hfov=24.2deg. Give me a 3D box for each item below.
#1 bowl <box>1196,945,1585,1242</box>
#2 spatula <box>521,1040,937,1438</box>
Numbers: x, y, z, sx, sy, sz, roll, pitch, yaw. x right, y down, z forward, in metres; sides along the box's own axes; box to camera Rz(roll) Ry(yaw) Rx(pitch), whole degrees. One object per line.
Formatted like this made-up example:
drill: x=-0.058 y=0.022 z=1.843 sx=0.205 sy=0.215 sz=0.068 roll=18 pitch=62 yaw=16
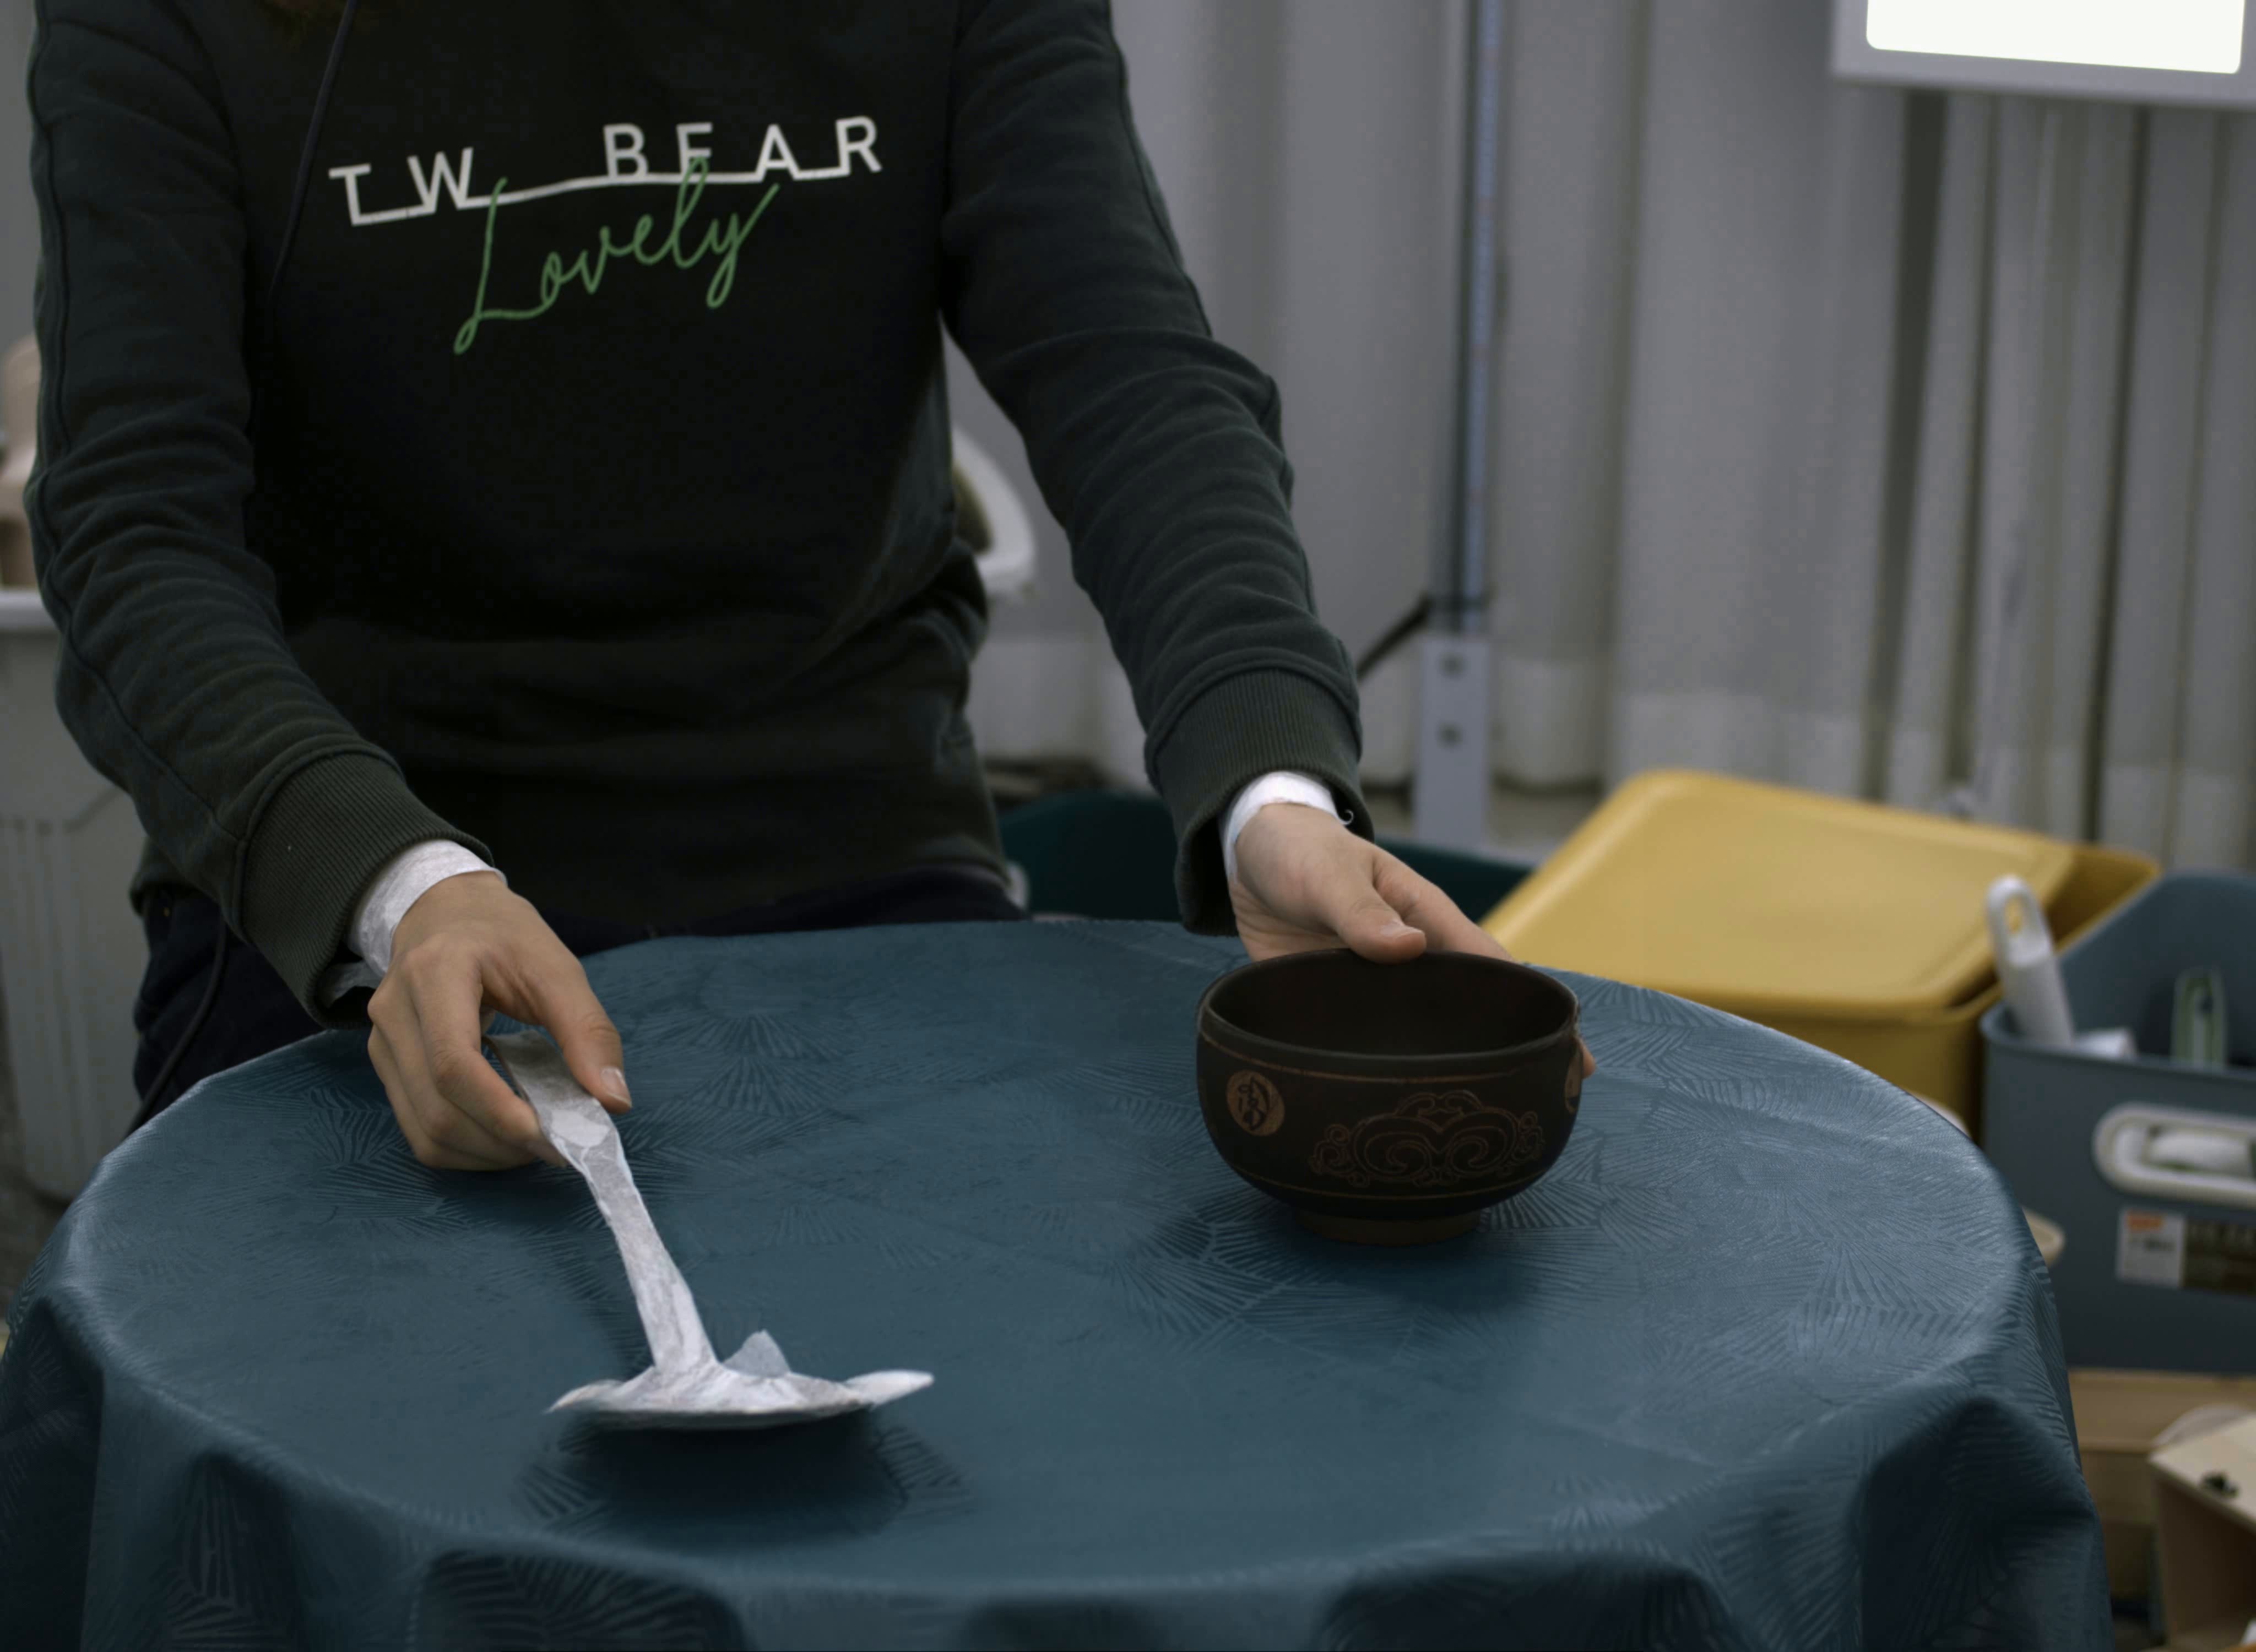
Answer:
bowl: x=0.079 y=0.084 z=1.597 sx=0.117 sy=0.070 sz=0.117 roll=2 pitch=15 yaw=0
spatula: x=-0.141 y=0.111 z=1.531 sx=0.099 sy=0.045 sz=0.361 roll=-3 pitch=20 yaw=-16
